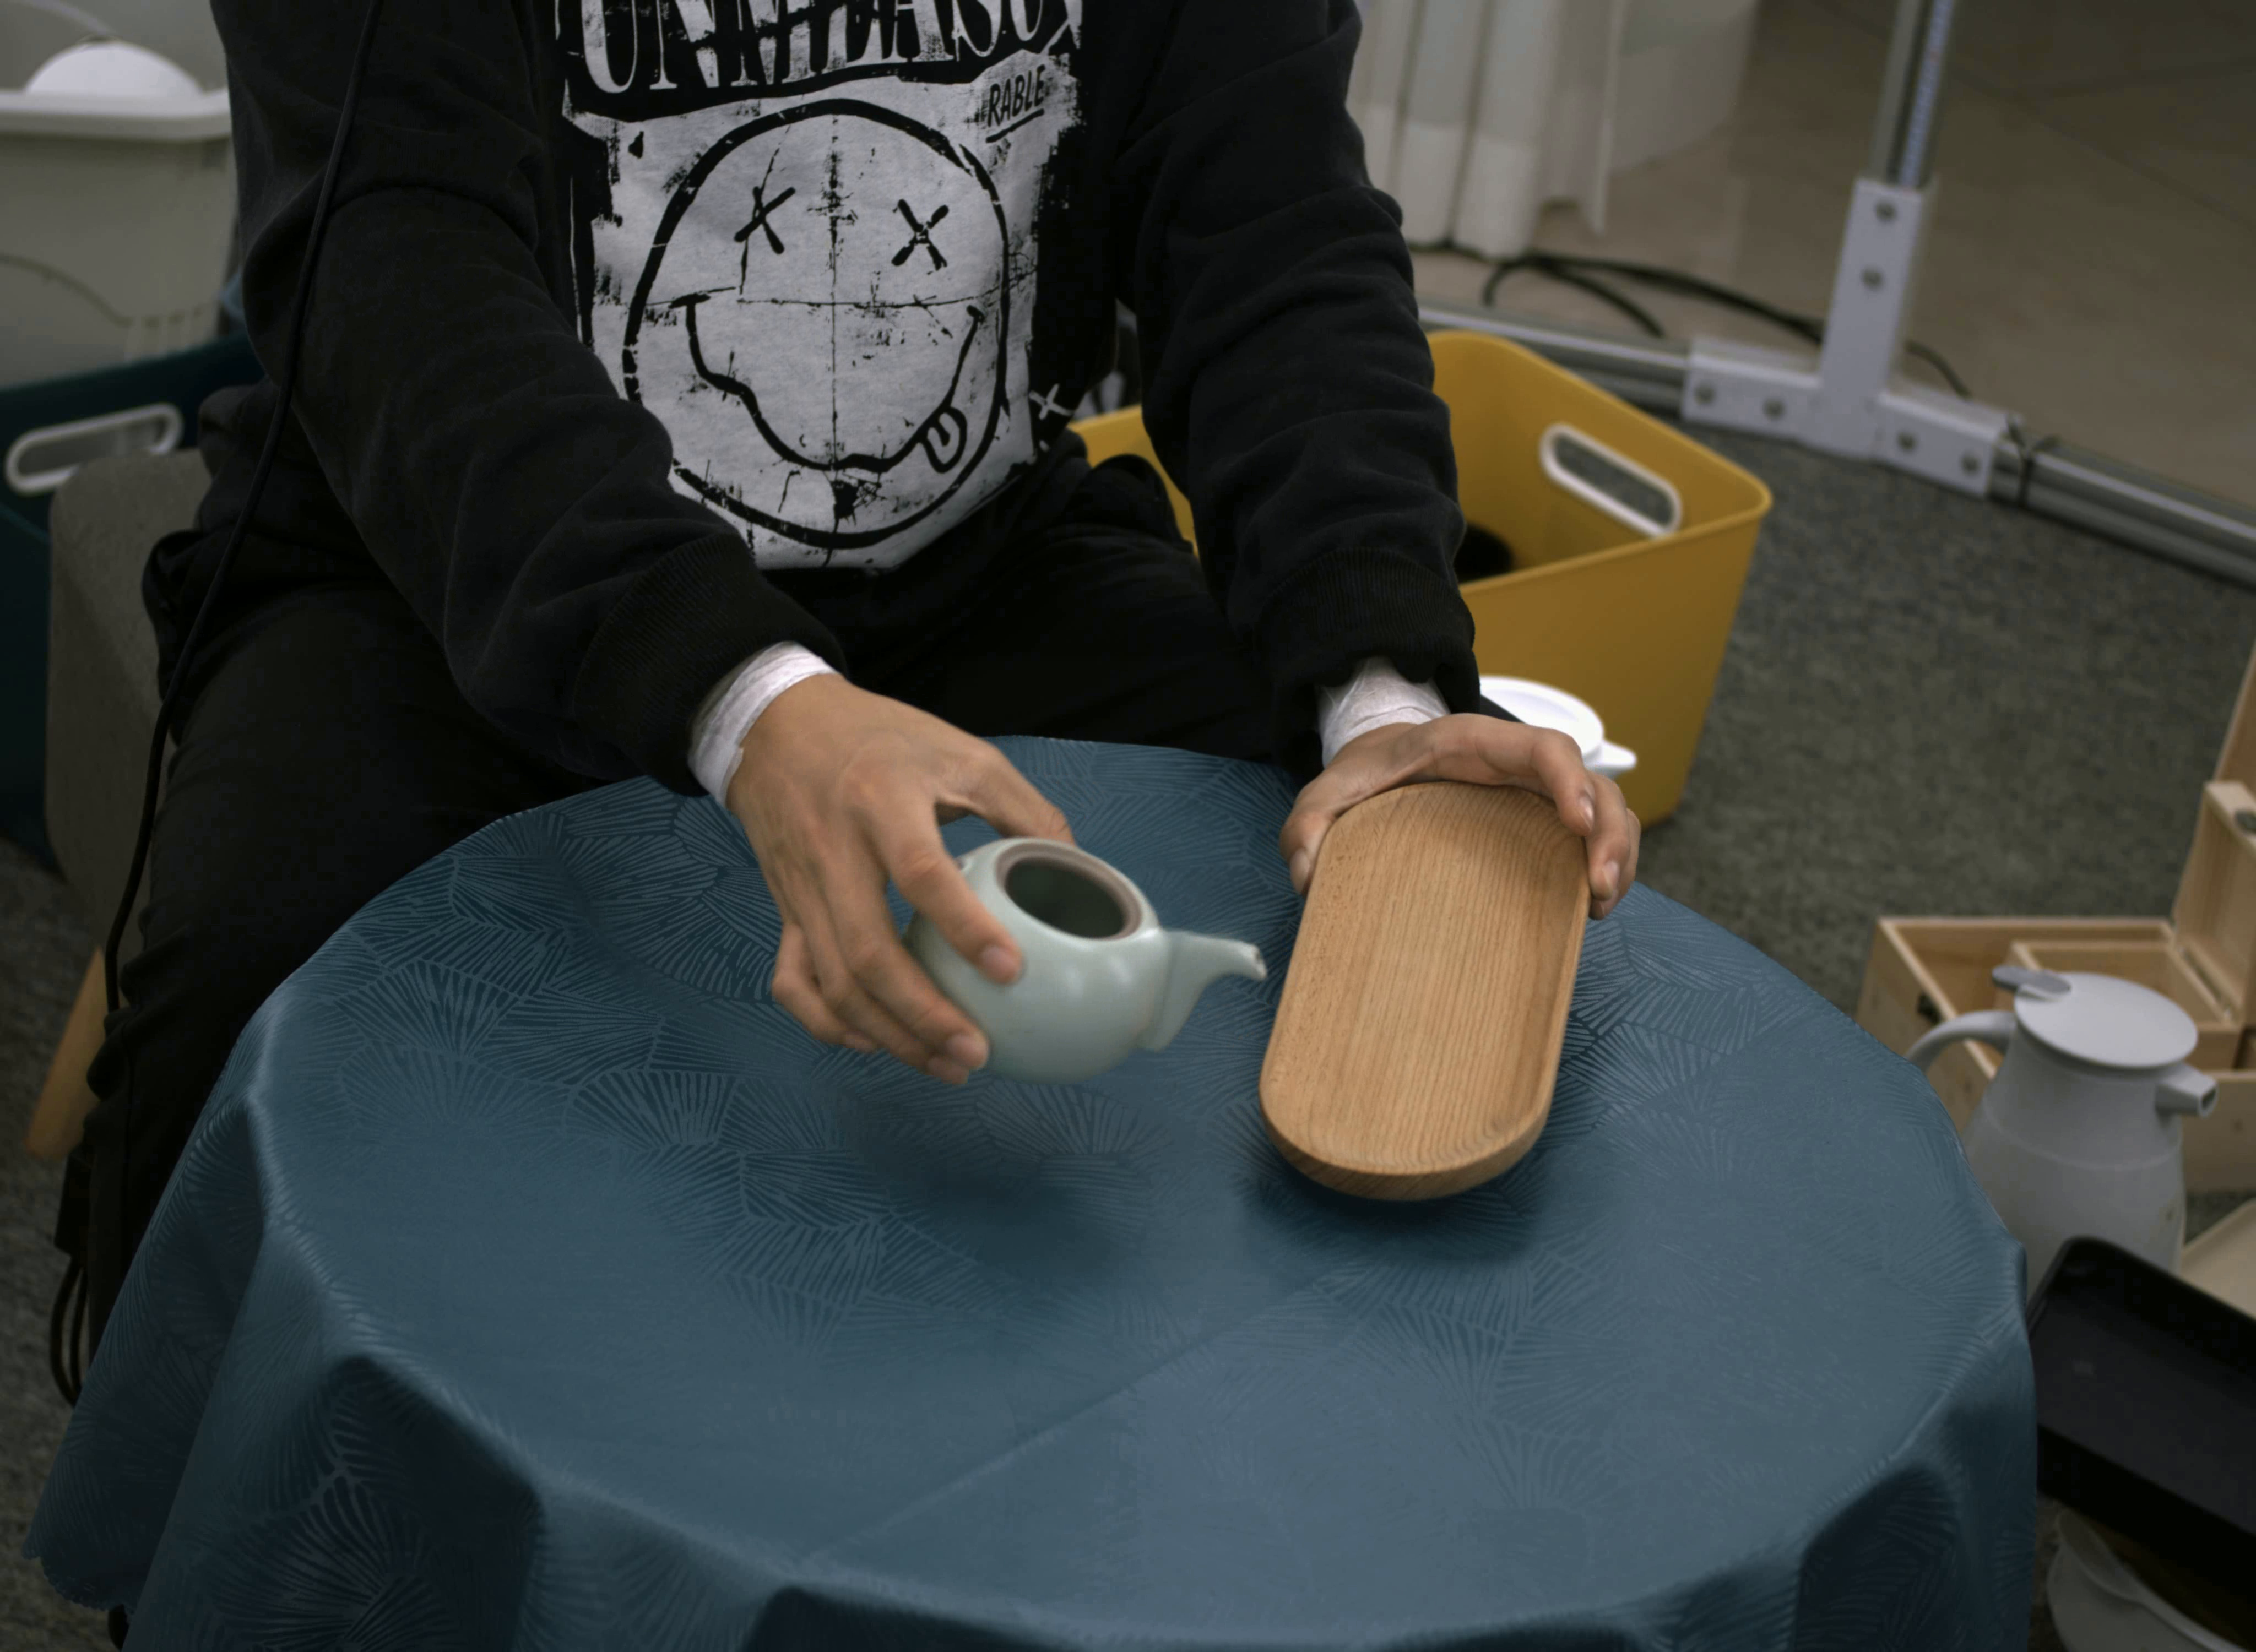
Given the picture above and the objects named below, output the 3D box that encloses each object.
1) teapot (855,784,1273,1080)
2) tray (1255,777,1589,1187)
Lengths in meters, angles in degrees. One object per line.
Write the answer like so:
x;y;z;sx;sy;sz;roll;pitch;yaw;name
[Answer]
-0.029;0.042;1.782;0.143;0.074;0.089;26;28;-5;teapot
0.105;0.052;1.880;0.101;0.020;0.232;4;34;10;tray
